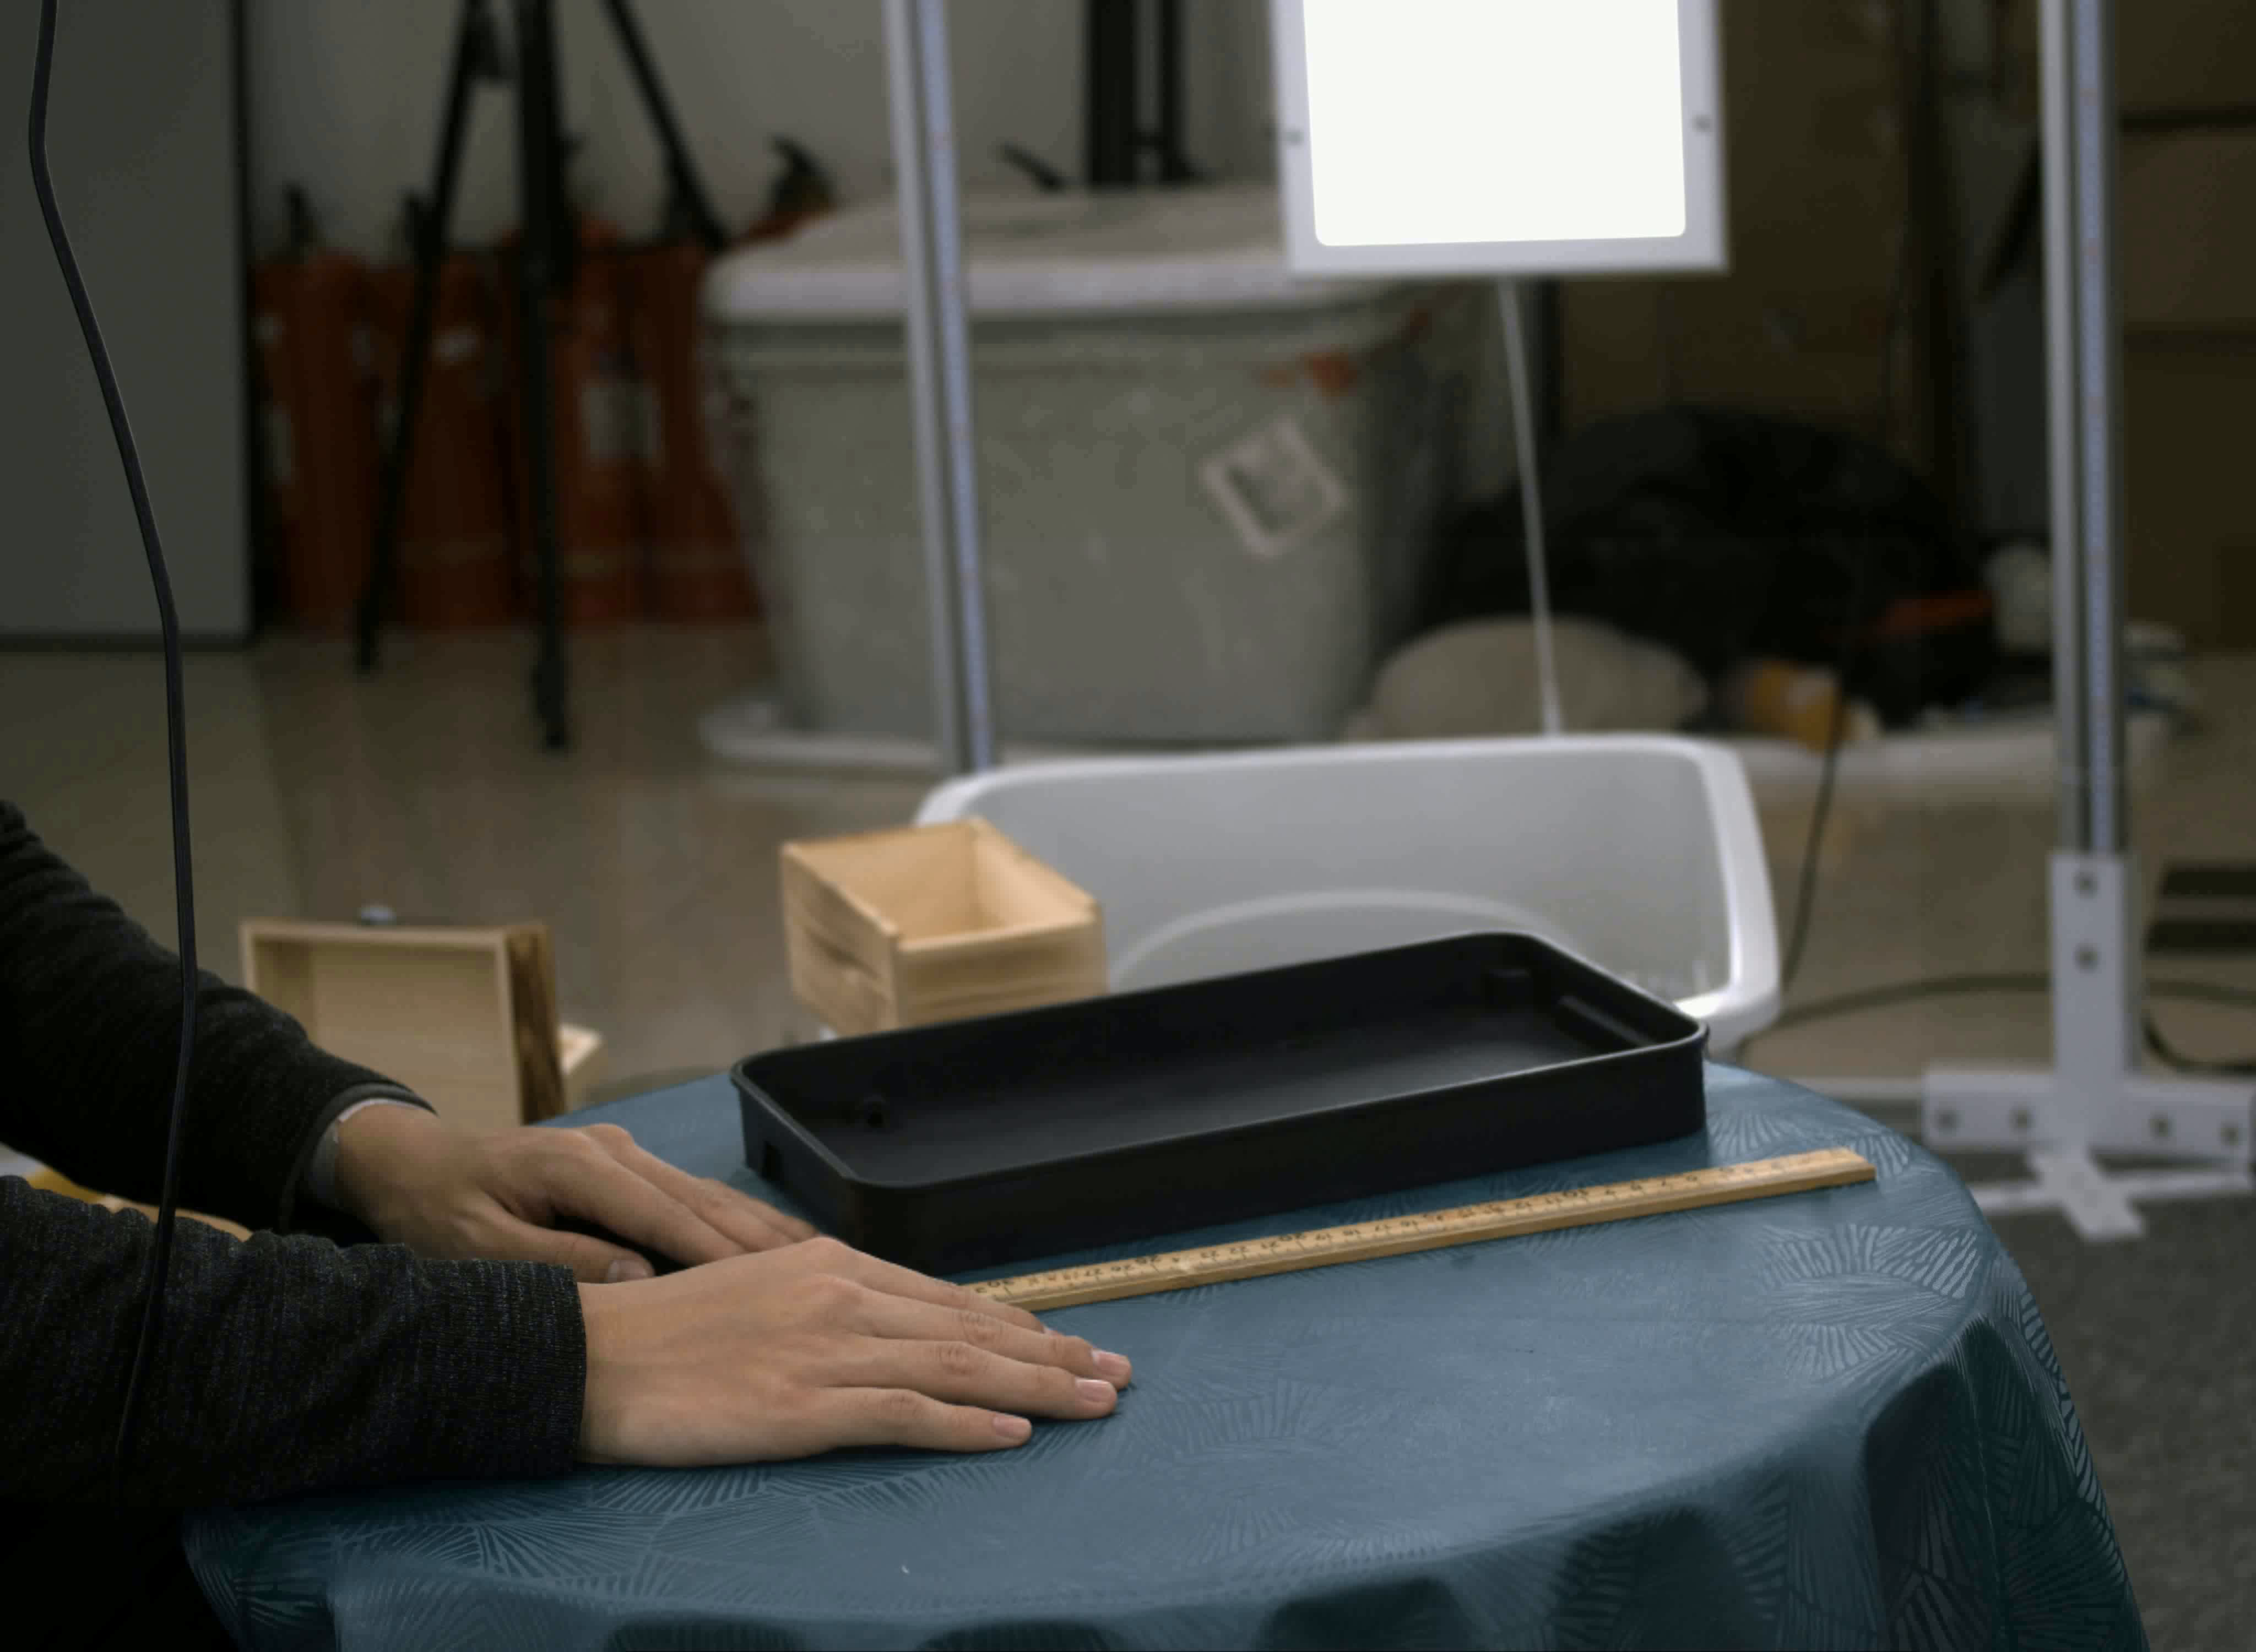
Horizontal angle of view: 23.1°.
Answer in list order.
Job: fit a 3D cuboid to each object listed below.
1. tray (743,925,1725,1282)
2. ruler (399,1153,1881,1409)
[{"bbox_3d":[0.037,0.094,1.943,0.313,0.037,0.186,-10,14,-18],"label":"tray"},{"bbox_3d":[0.010,0.147,1.802,0.494,0.006,0.027,-8,12,-10],"label":"ruler"}]
